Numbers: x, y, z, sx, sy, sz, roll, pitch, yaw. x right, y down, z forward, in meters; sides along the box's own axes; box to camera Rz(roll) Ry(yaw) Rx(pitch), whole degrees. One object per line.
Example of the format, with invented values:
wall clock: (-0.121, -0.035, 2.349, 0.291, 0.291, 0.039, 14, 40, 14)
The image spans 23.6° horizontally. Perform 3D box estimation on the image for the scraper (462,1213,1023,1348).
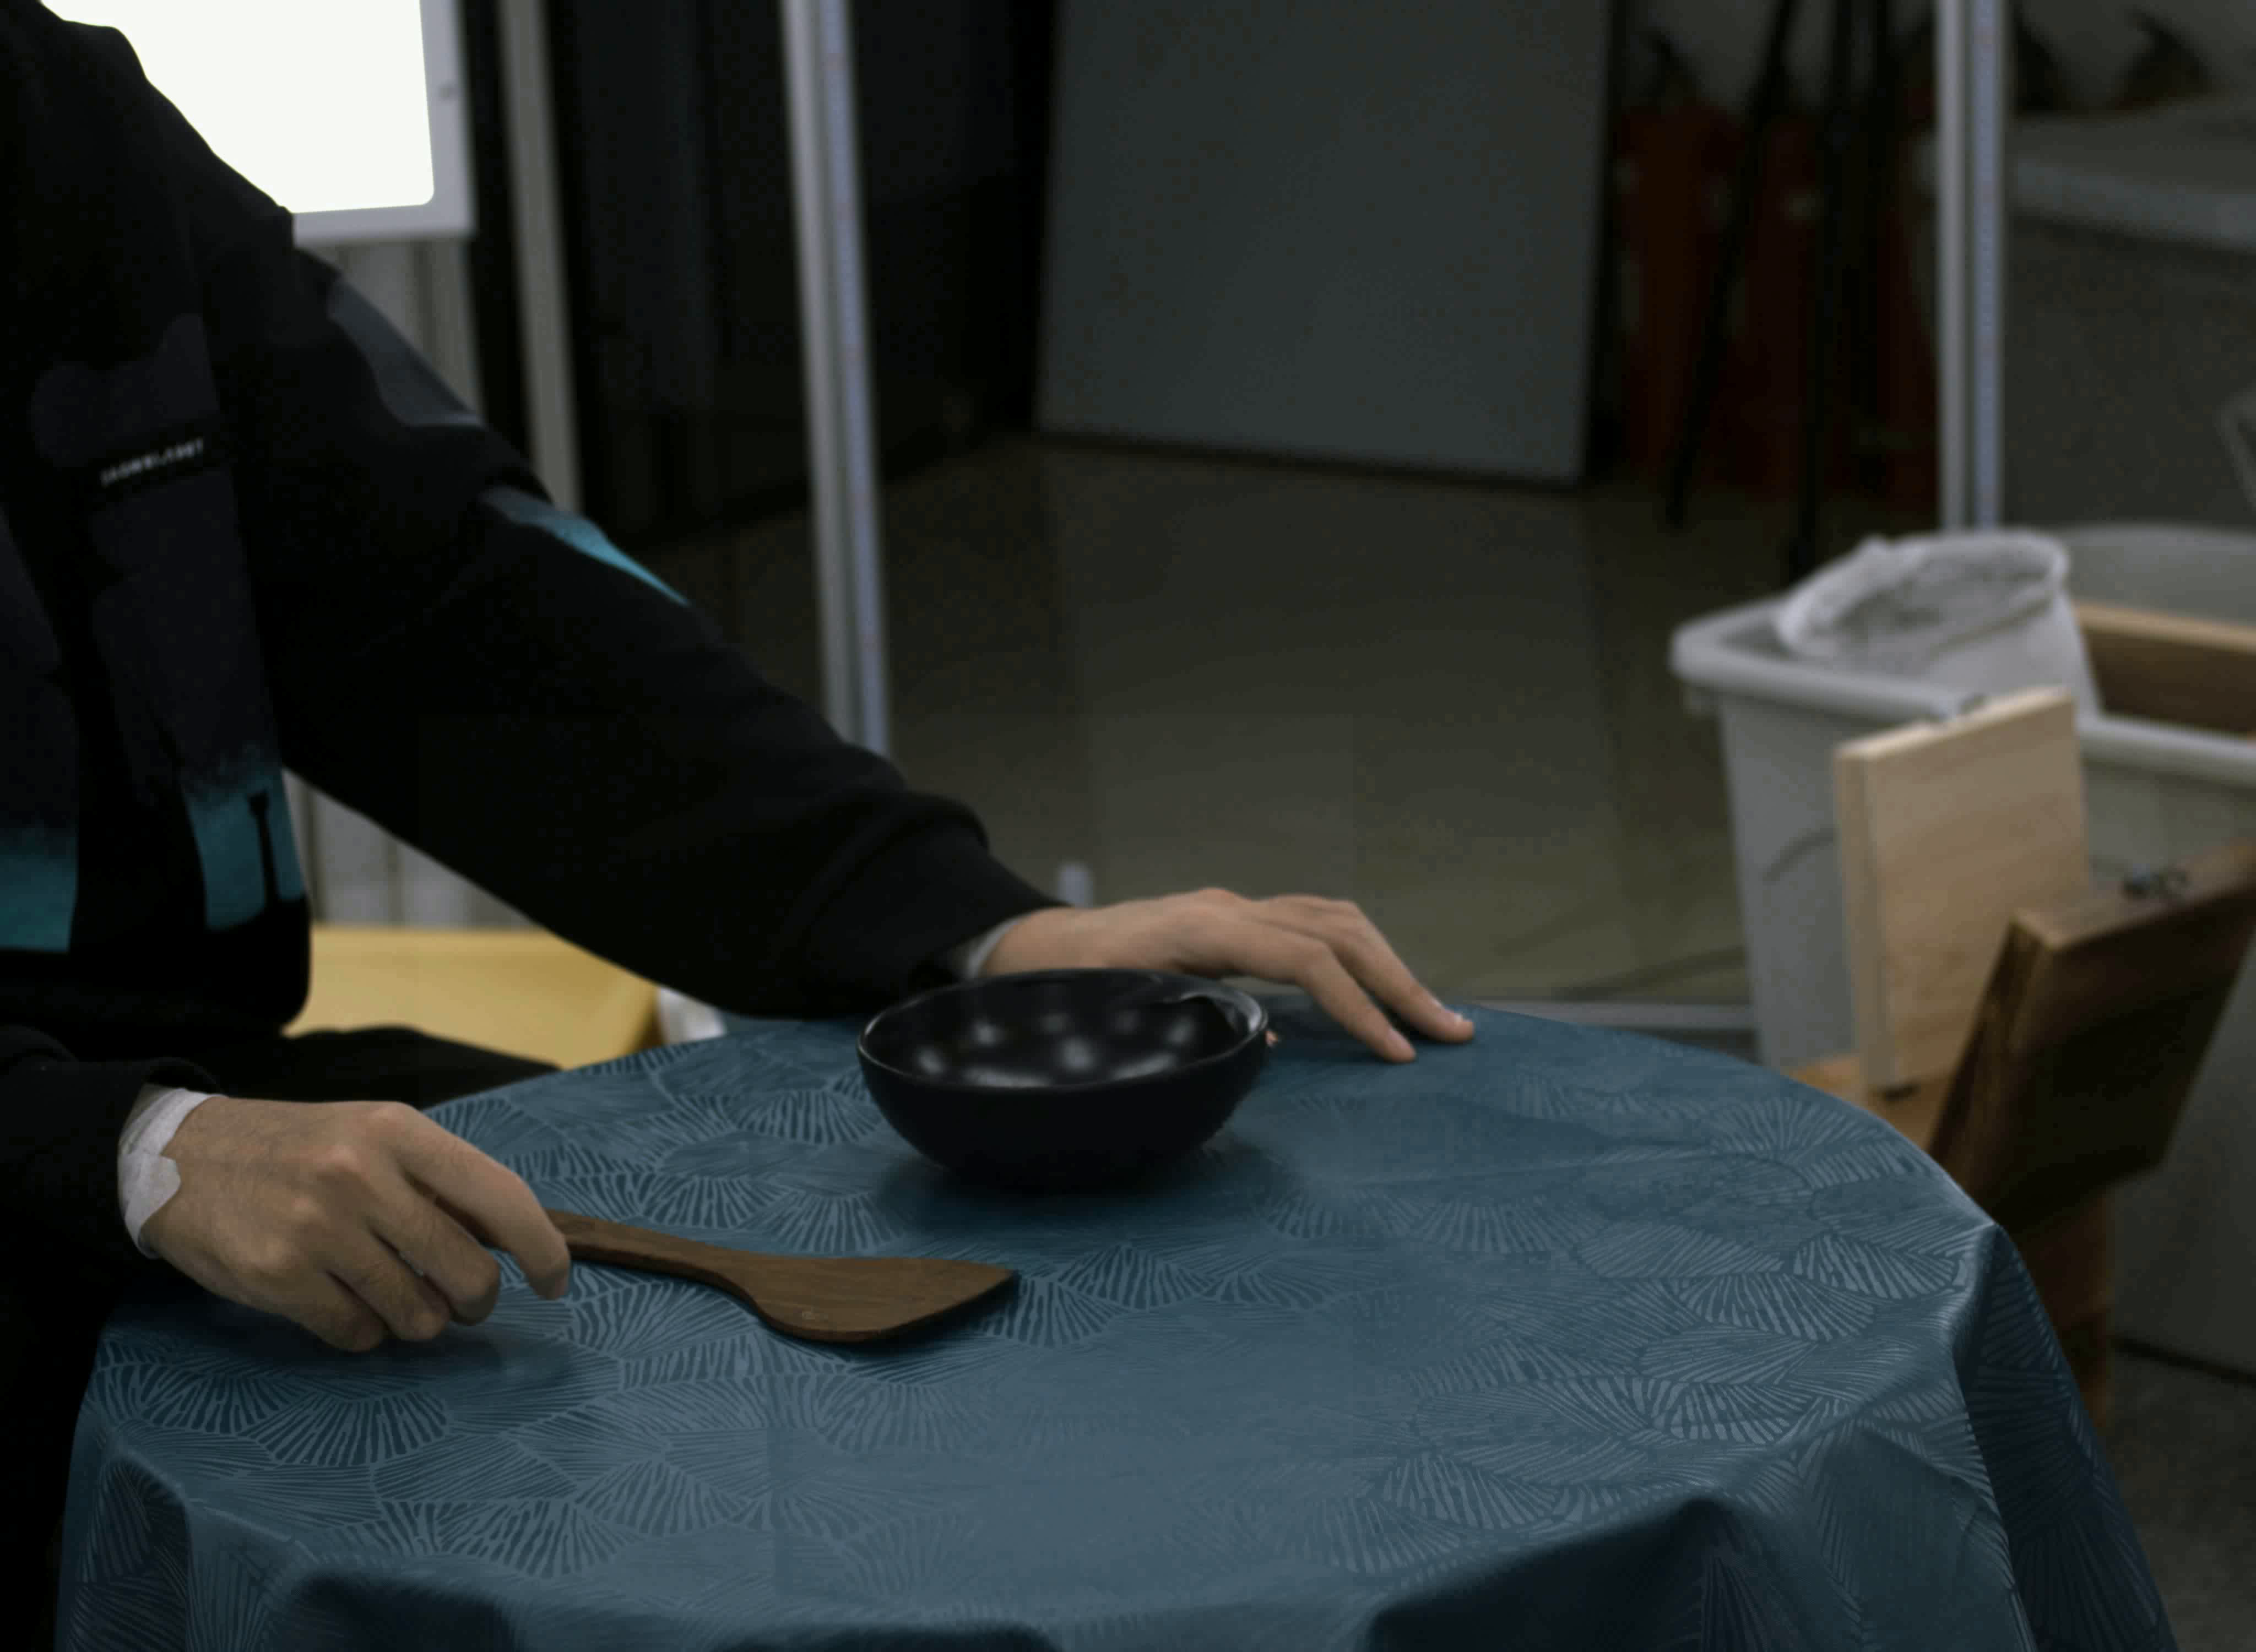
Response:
scraper: (-0.130, 0.141, 1.714, 0.213, 0.011, 0.074, 6, 17, 39)

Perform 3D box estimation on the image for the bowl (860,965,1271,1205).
bowl: (-0.018, 0.091, 1.800, 0.138, 0.050, 0.140, -6, 15, 1)
